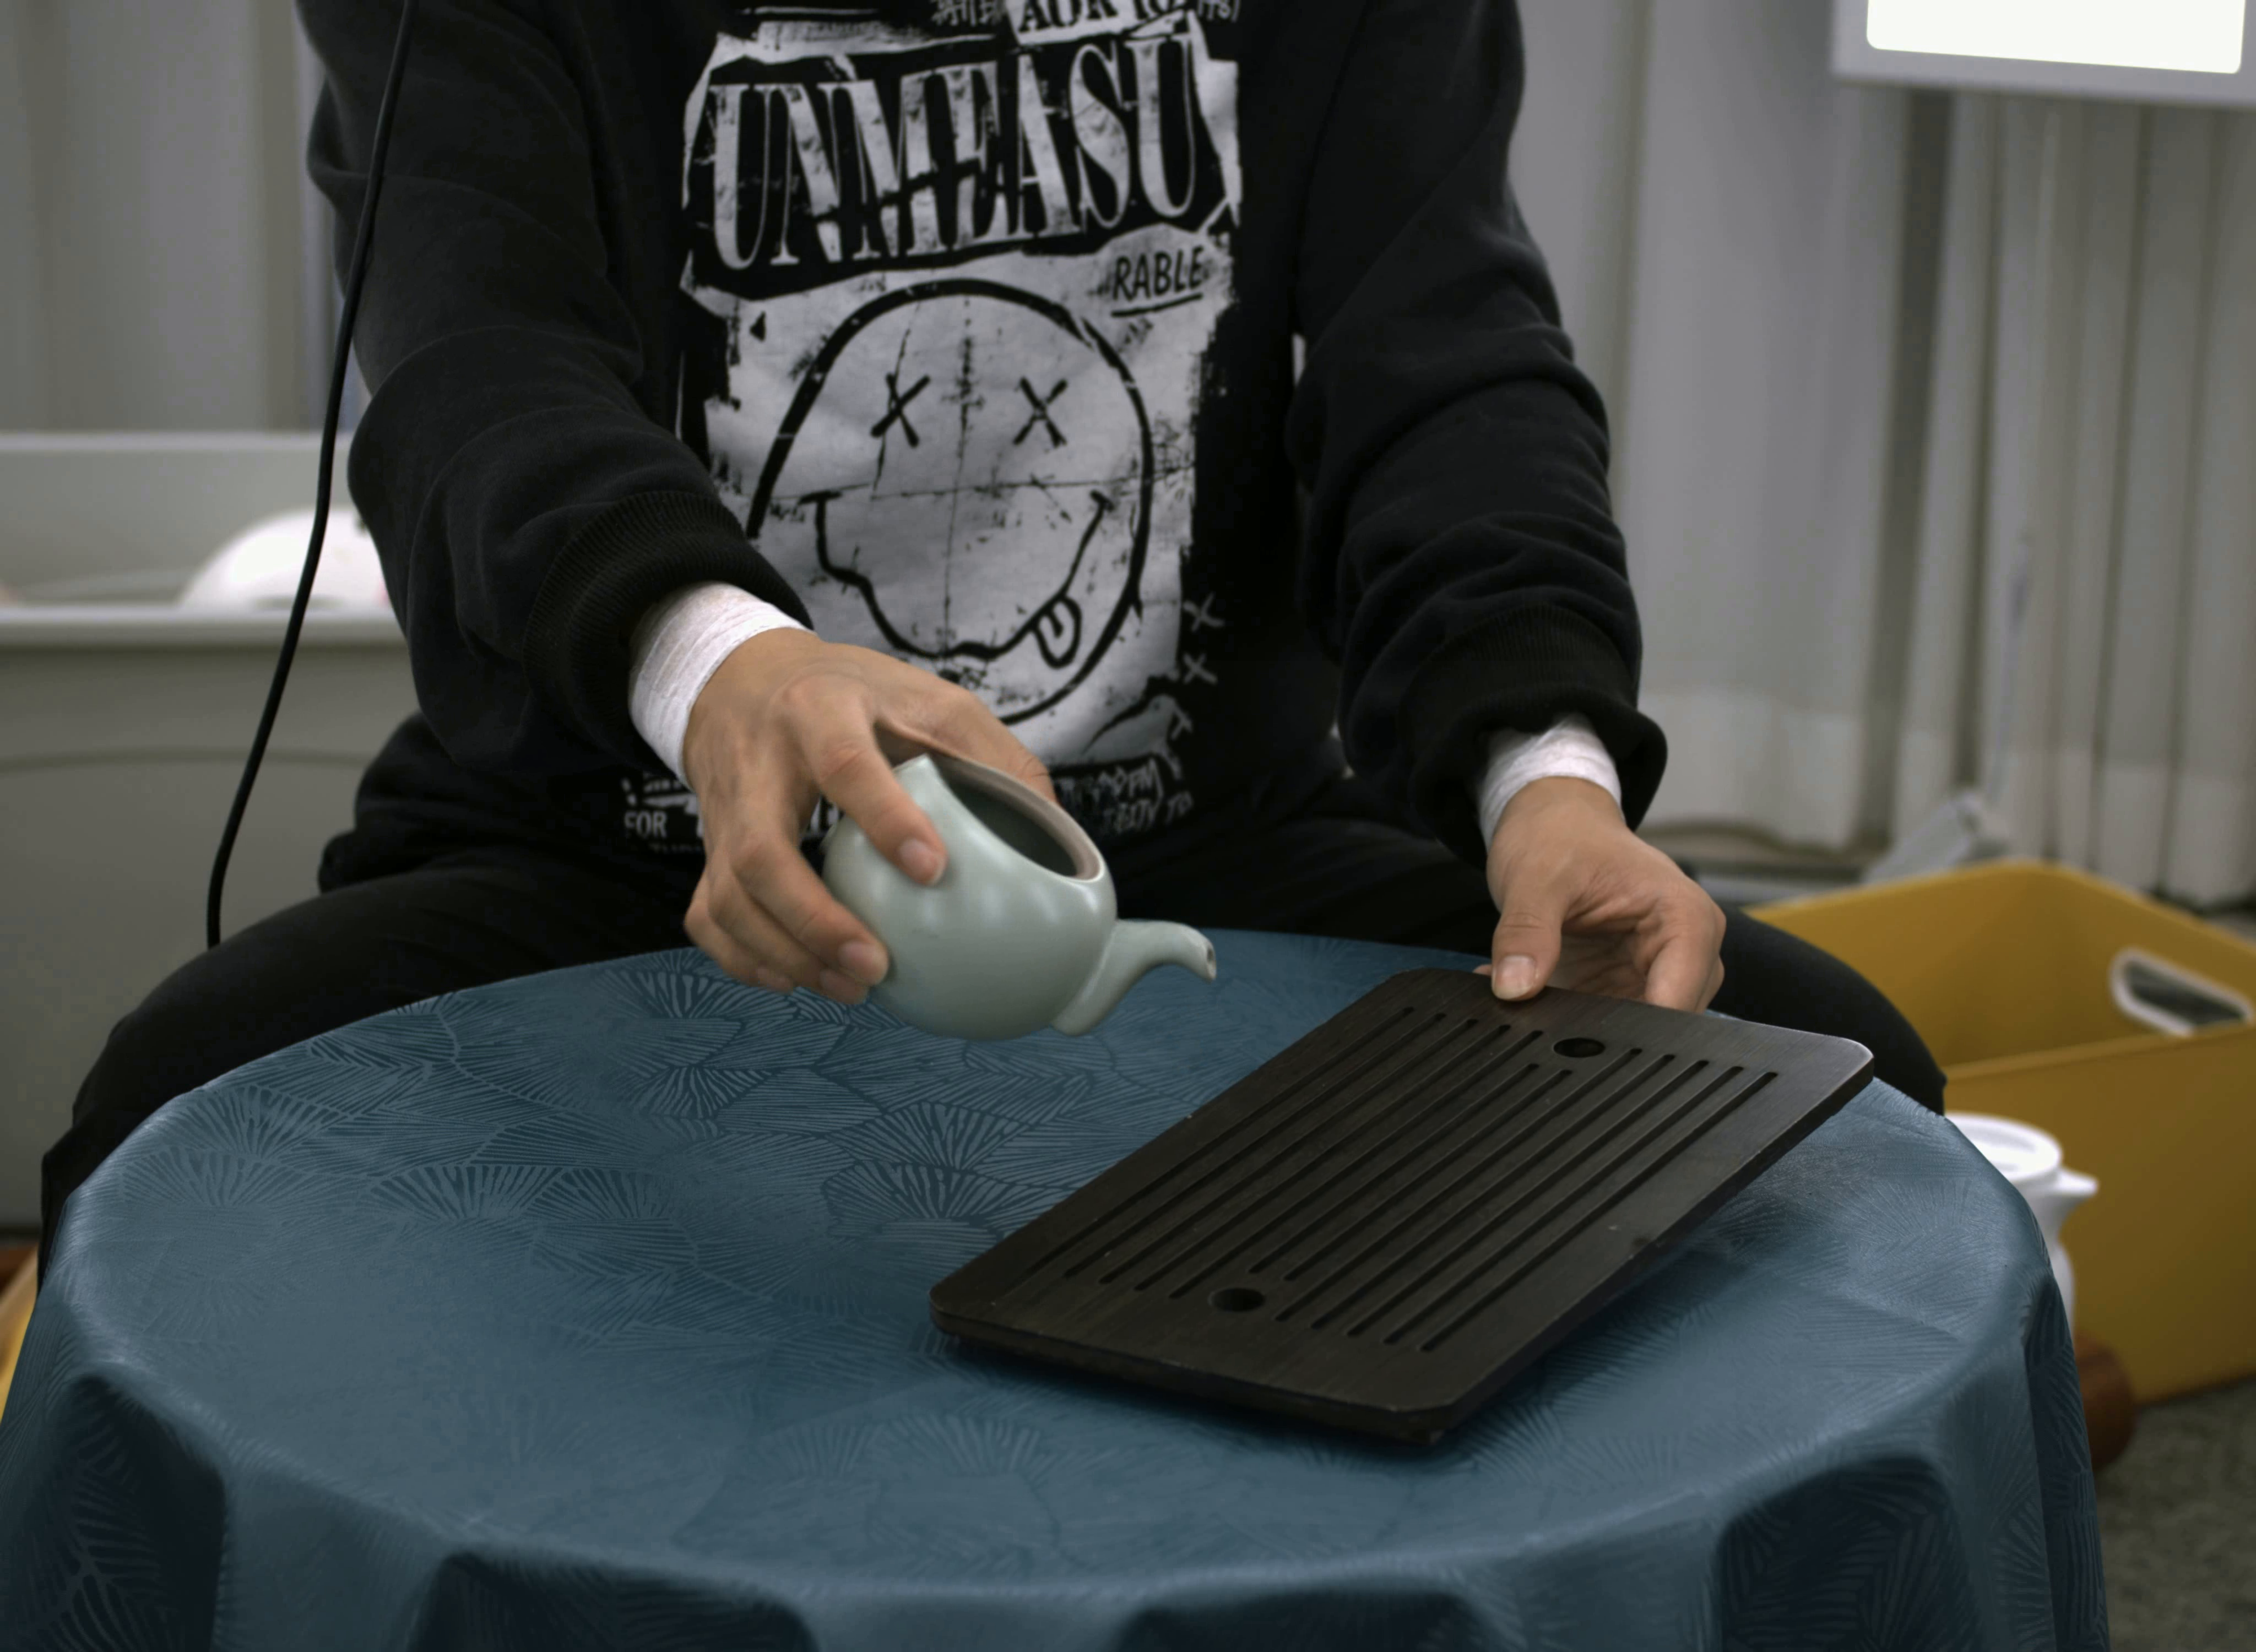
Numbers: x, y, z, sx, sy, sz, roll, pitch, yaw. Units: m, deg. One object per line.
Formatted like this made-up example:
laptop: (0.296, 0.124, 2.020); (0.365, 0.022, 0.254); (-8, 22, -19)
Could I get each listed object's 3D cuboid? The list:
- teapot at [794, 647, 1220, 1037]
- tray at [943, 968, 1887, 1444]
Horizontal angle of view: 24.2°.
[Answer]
teapot: (-0.046, 0.019, 1.540); (0.143, 0.075, 0.088); (43, 18, 4)
tray: (0.092, 0.109, 1.567); (0.168, 0.019, 0.306); (9, 22, 29)
